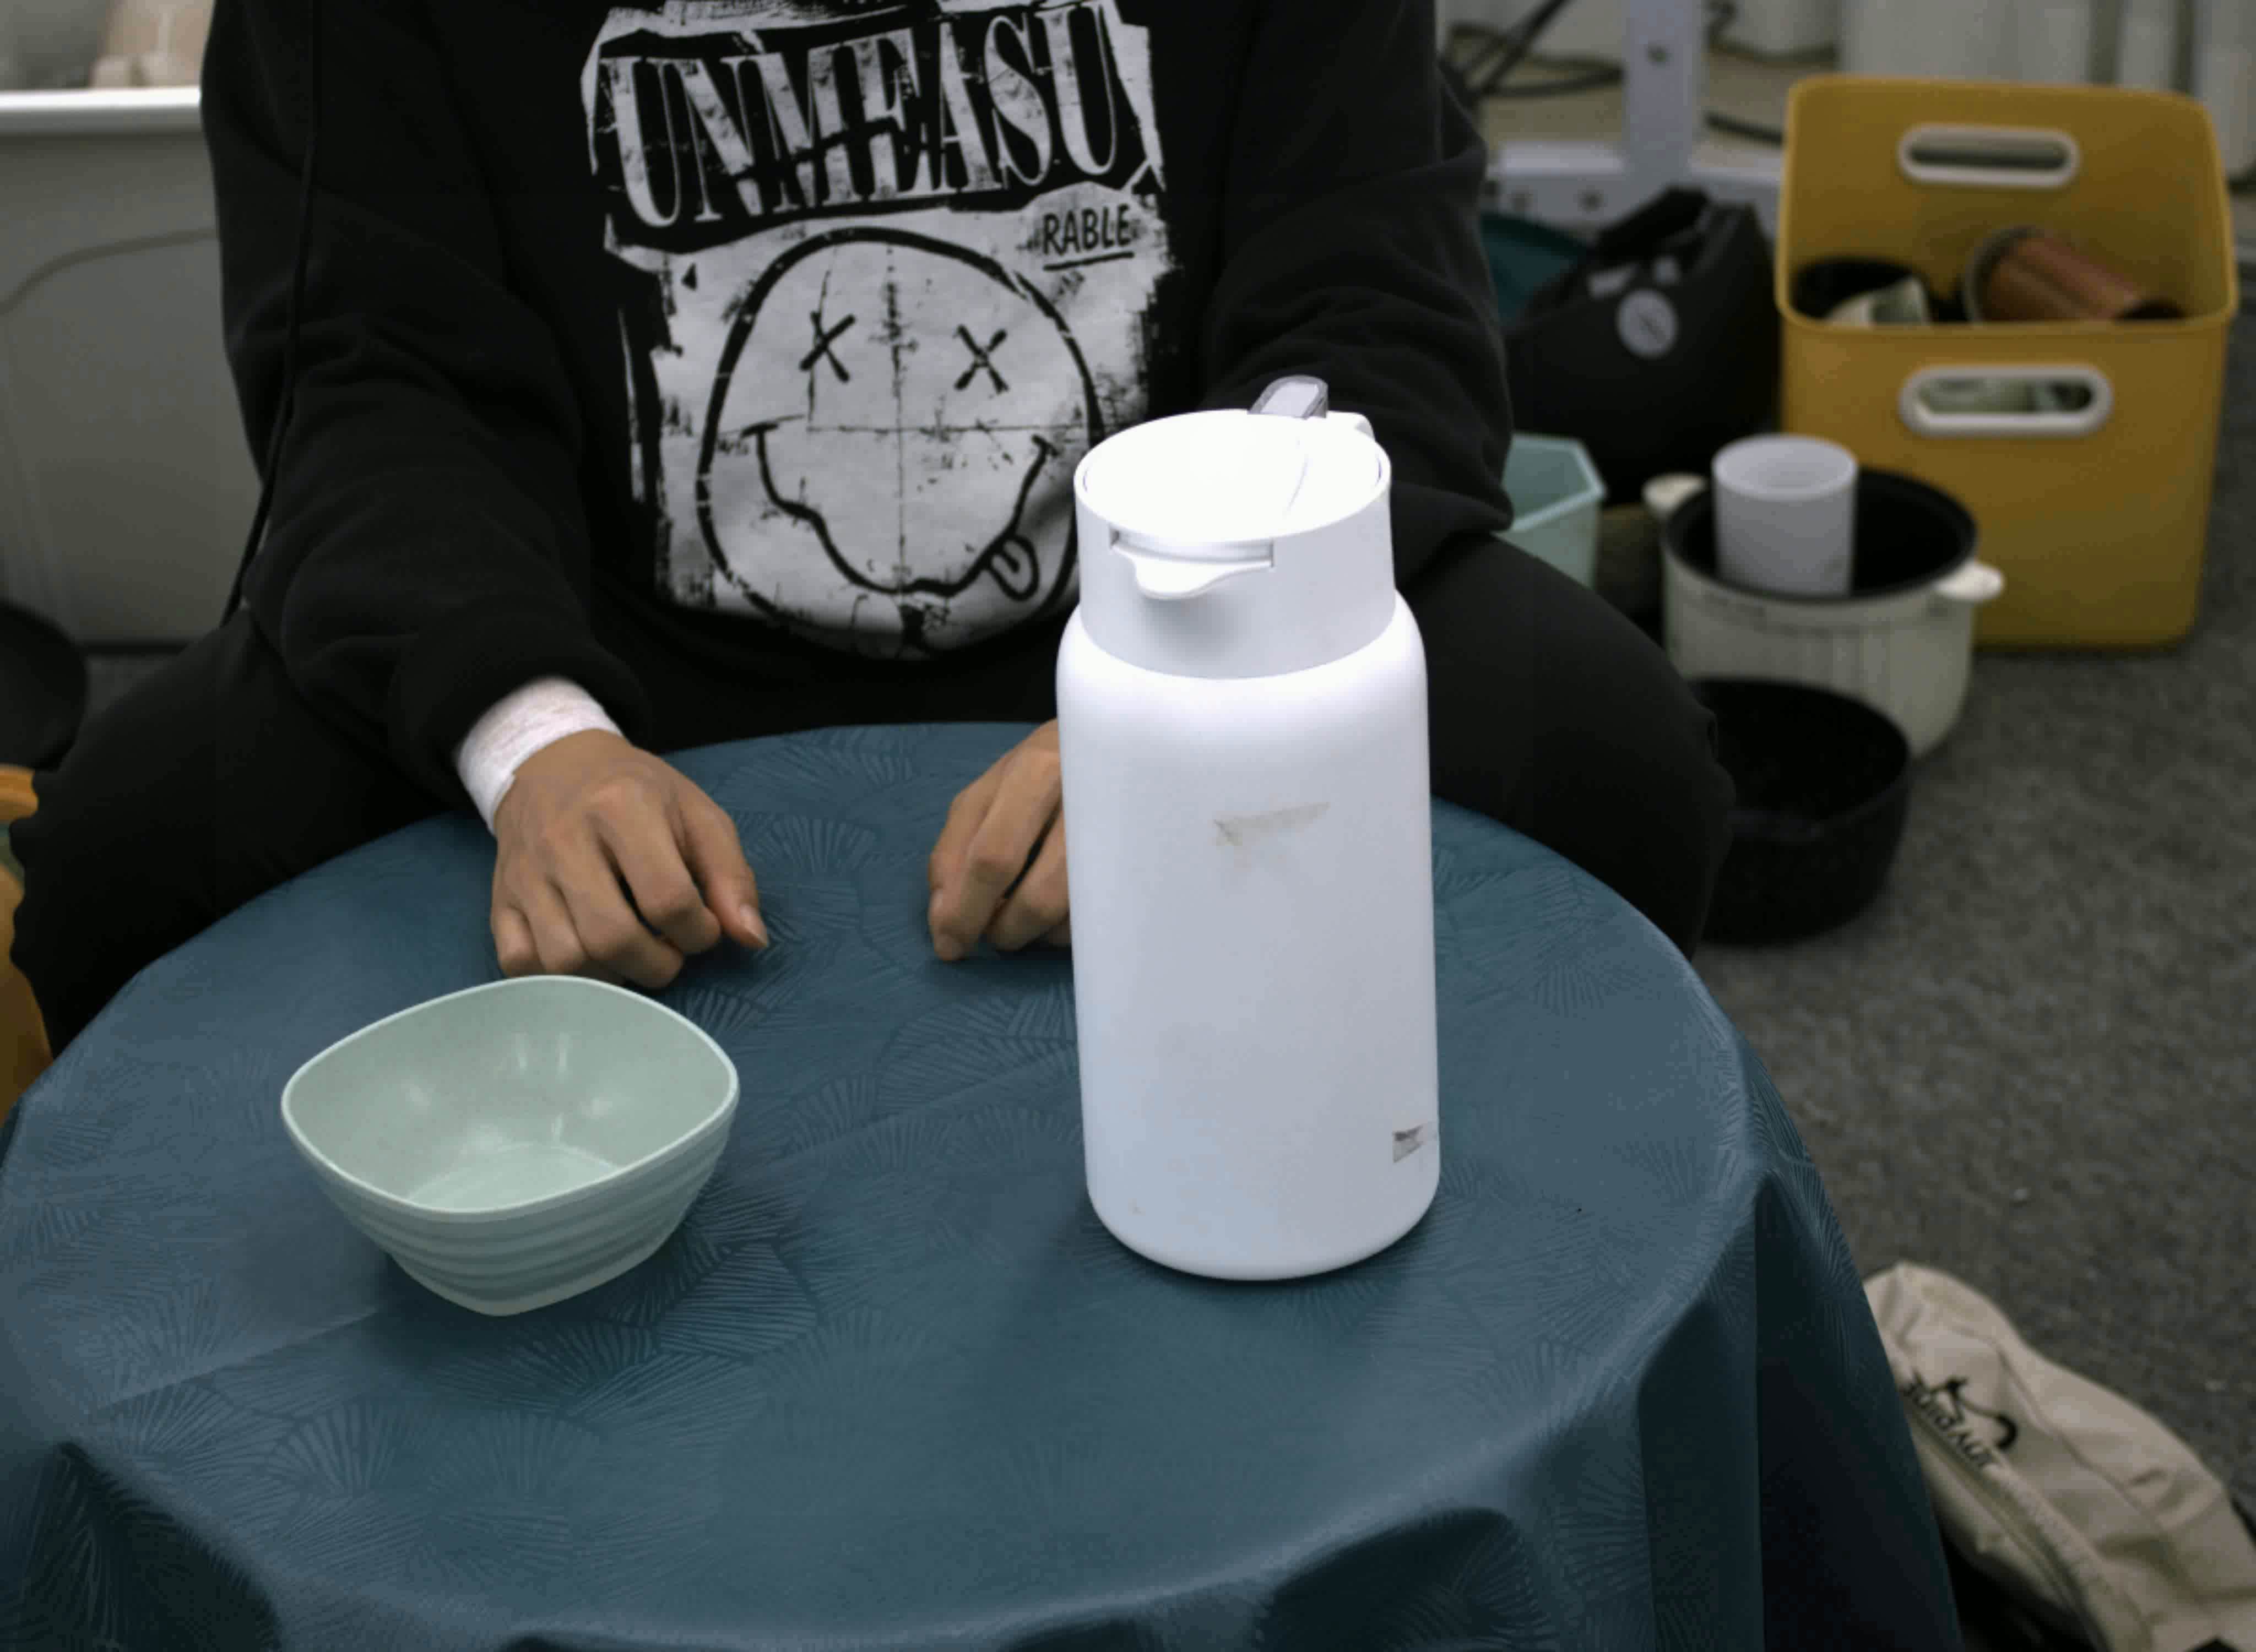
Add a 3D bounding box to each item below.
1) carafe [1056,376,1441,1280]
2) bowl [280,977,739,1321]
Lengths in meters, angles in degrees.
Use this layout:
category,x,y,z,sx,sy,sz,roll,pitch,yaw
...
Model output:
category,x,y,z,sx,sy,sz,roll,pitch,yaw
carafe,0.043,-0.003,1.809,0.123,0.266,0.176,4,27,18
bowl,-0.200,0.112,1.839,0.151,0.058,0.154,-2,28,1
